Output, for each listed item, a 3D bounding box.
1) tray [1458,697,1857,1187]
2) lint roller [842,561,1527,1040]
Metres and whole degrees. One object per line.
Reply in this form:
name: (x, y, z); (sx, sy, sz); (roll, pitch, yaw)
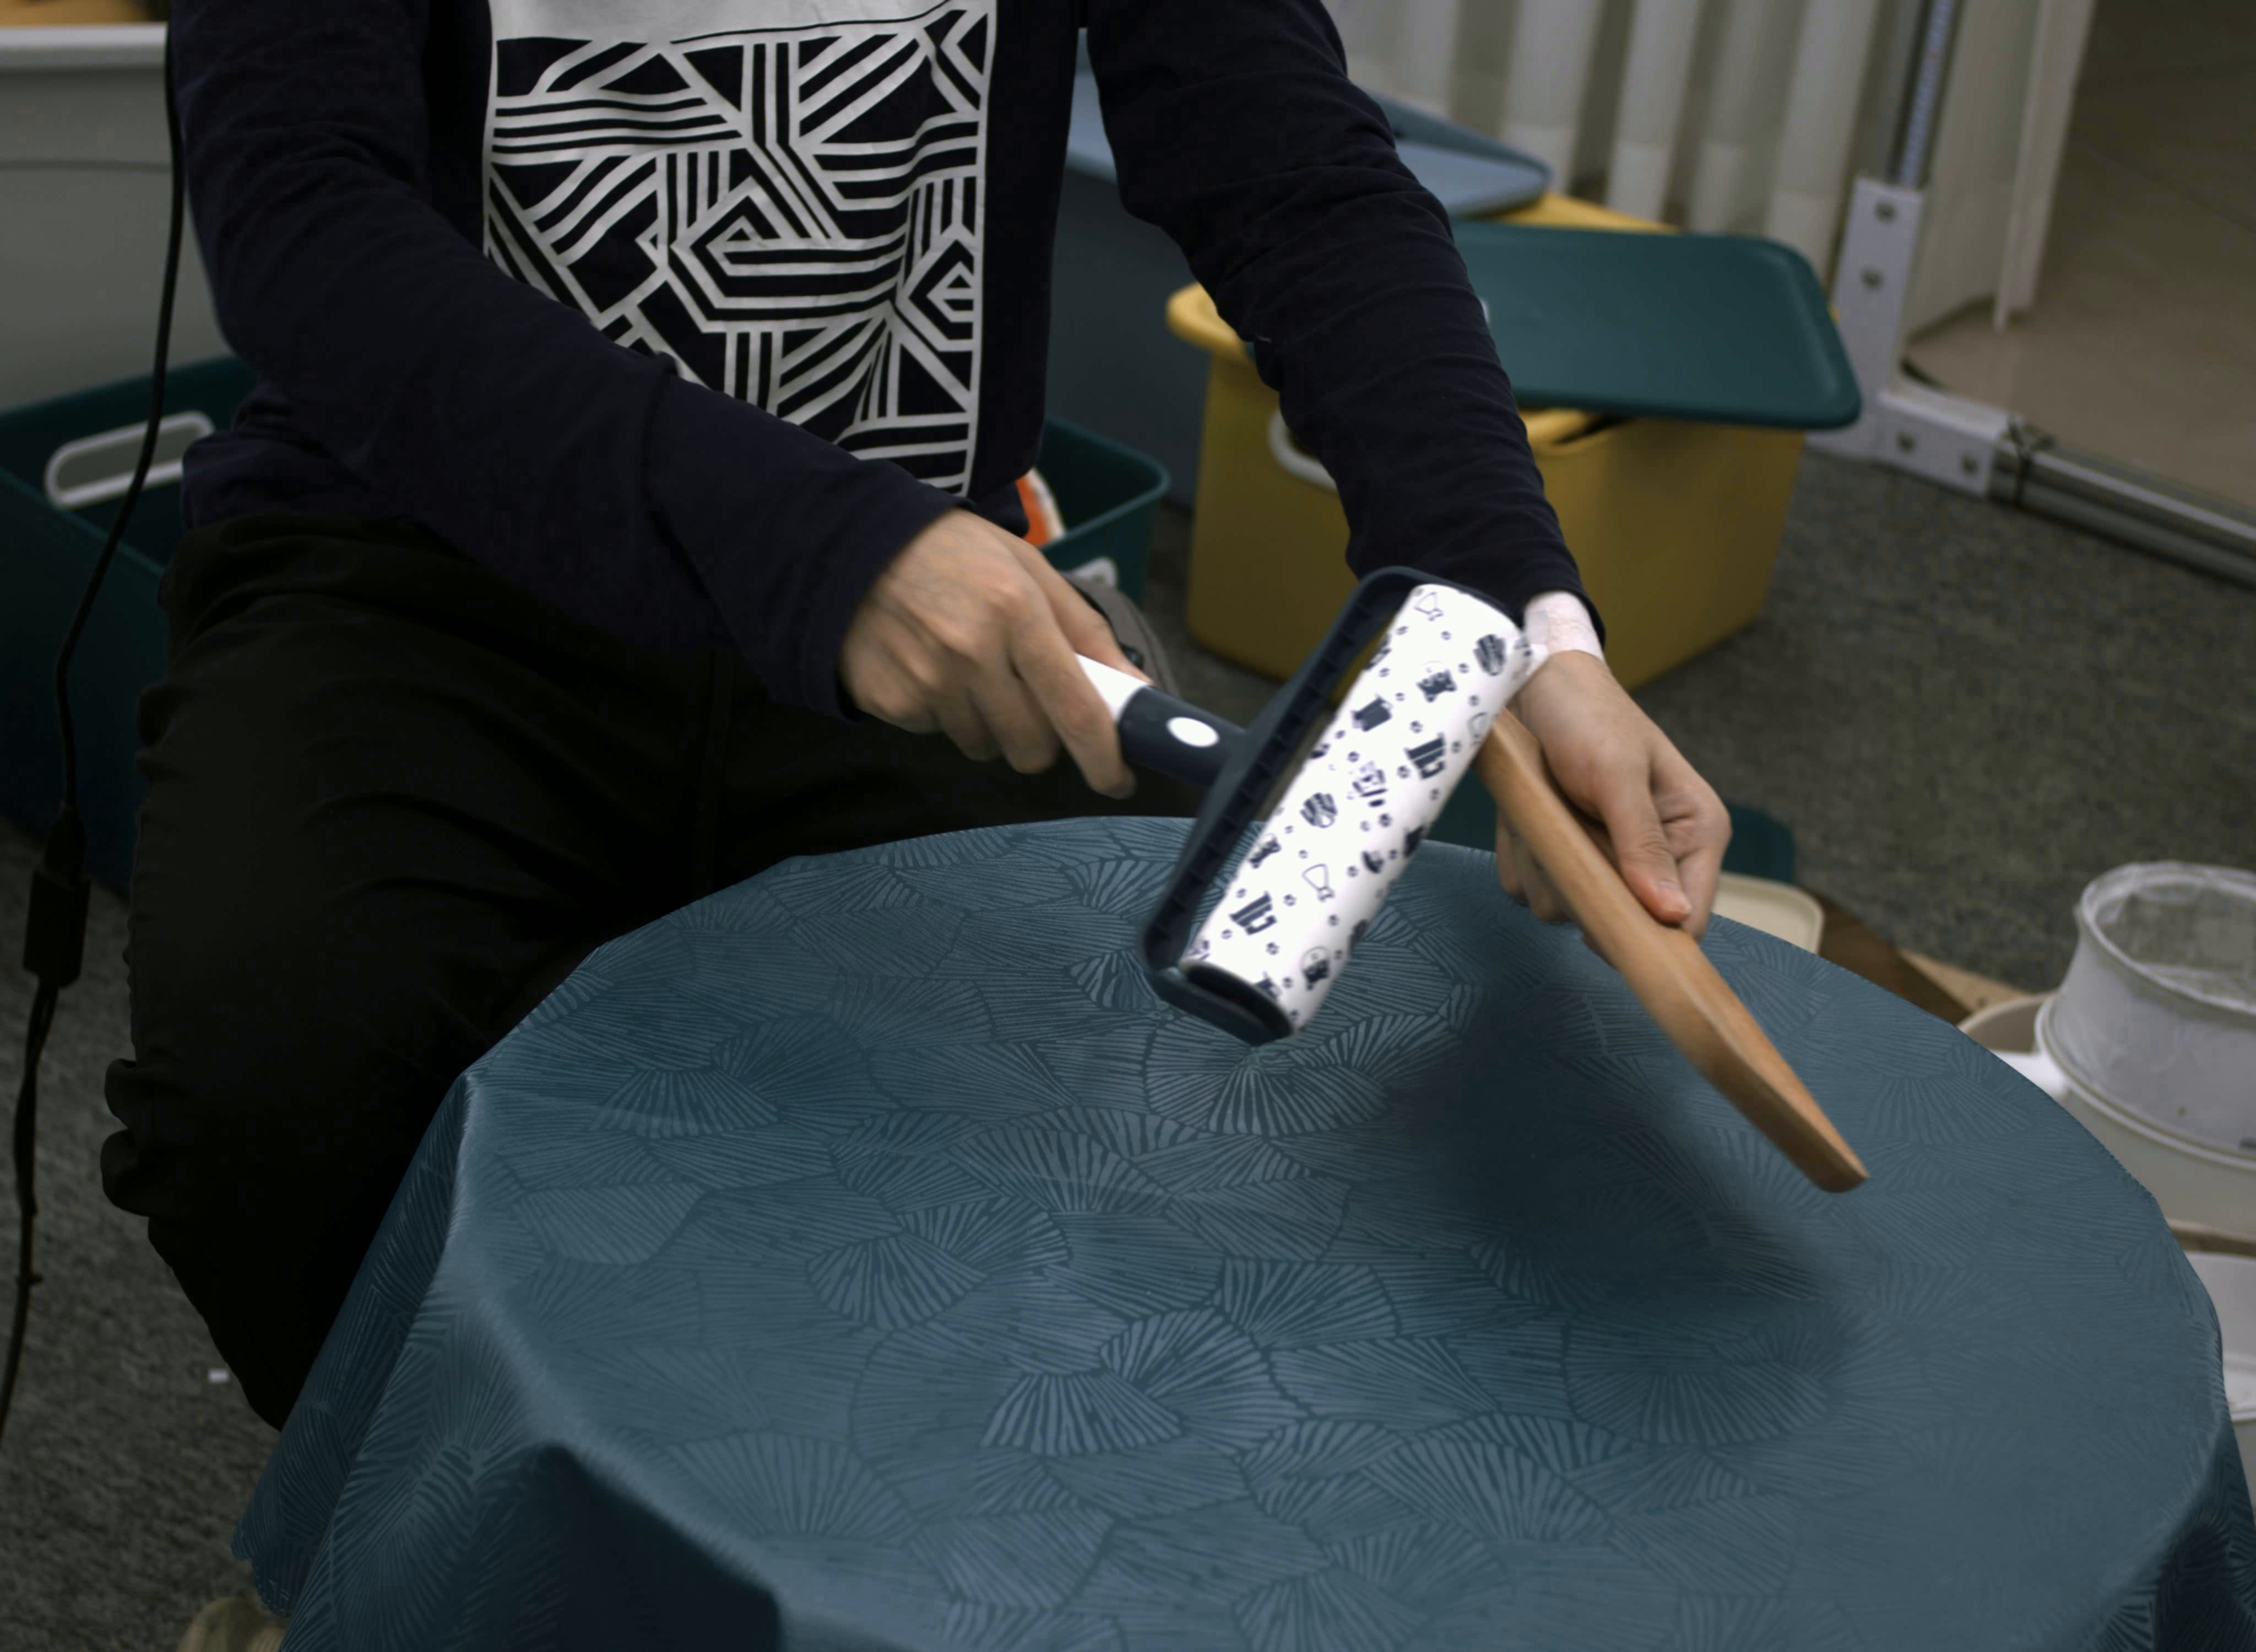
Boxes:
tray: (0.168, 0.026, 1.832); (0.023, 0.129, 0.253); (-39, 40, 5)
lint roller: (-0.004, -0.038, 1.846); (0.248, 0.050, 0.177); (21, 69, 30)
